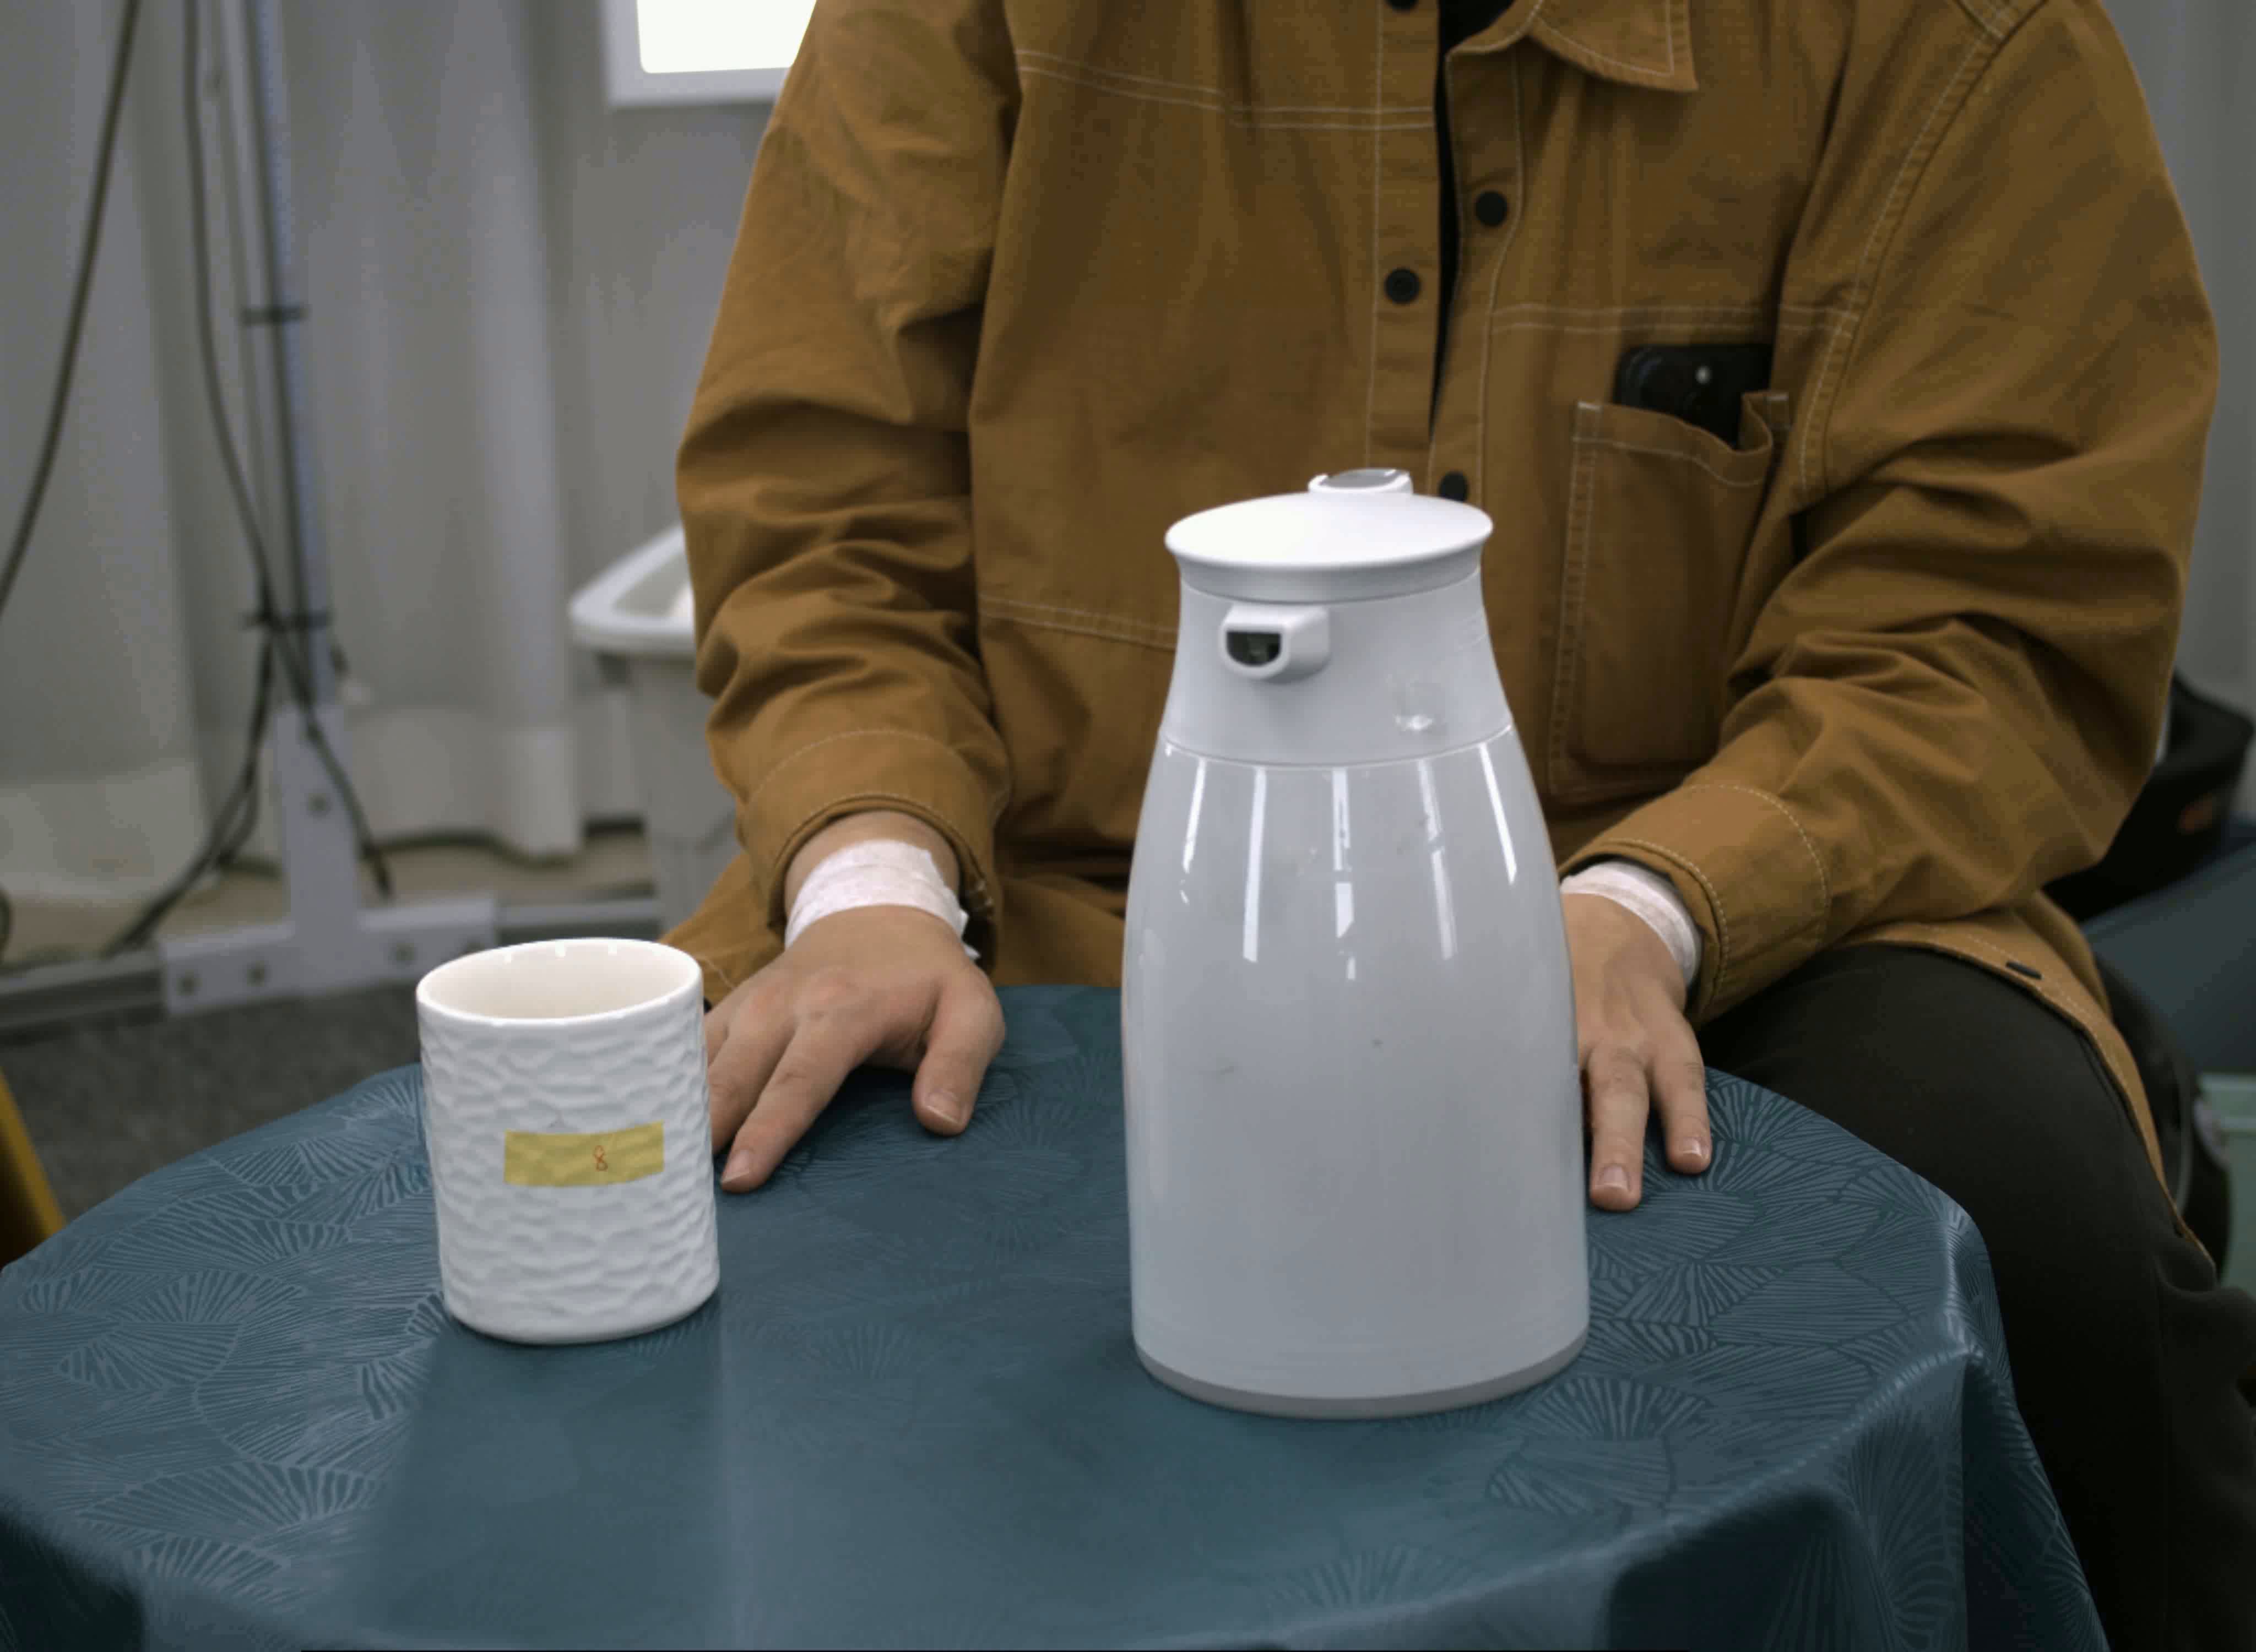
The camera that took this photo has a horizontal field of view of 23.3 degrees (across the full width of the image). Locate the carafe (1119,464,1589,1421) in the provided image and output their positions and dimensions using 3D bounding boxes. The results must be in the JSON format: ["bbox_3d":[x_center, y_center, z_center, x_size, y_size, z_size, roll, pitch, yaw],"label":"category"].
[{"bbox_3d":[0.066,0.024,1.564,0.132,0.248,0.168,2,14,20],"label":"carafe"}]

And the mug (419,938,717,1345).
[{"bbox_3d":[-0.163,0.090,1.643,0.085,0.101,0.119,0,14,8],"label":"mug"}]
